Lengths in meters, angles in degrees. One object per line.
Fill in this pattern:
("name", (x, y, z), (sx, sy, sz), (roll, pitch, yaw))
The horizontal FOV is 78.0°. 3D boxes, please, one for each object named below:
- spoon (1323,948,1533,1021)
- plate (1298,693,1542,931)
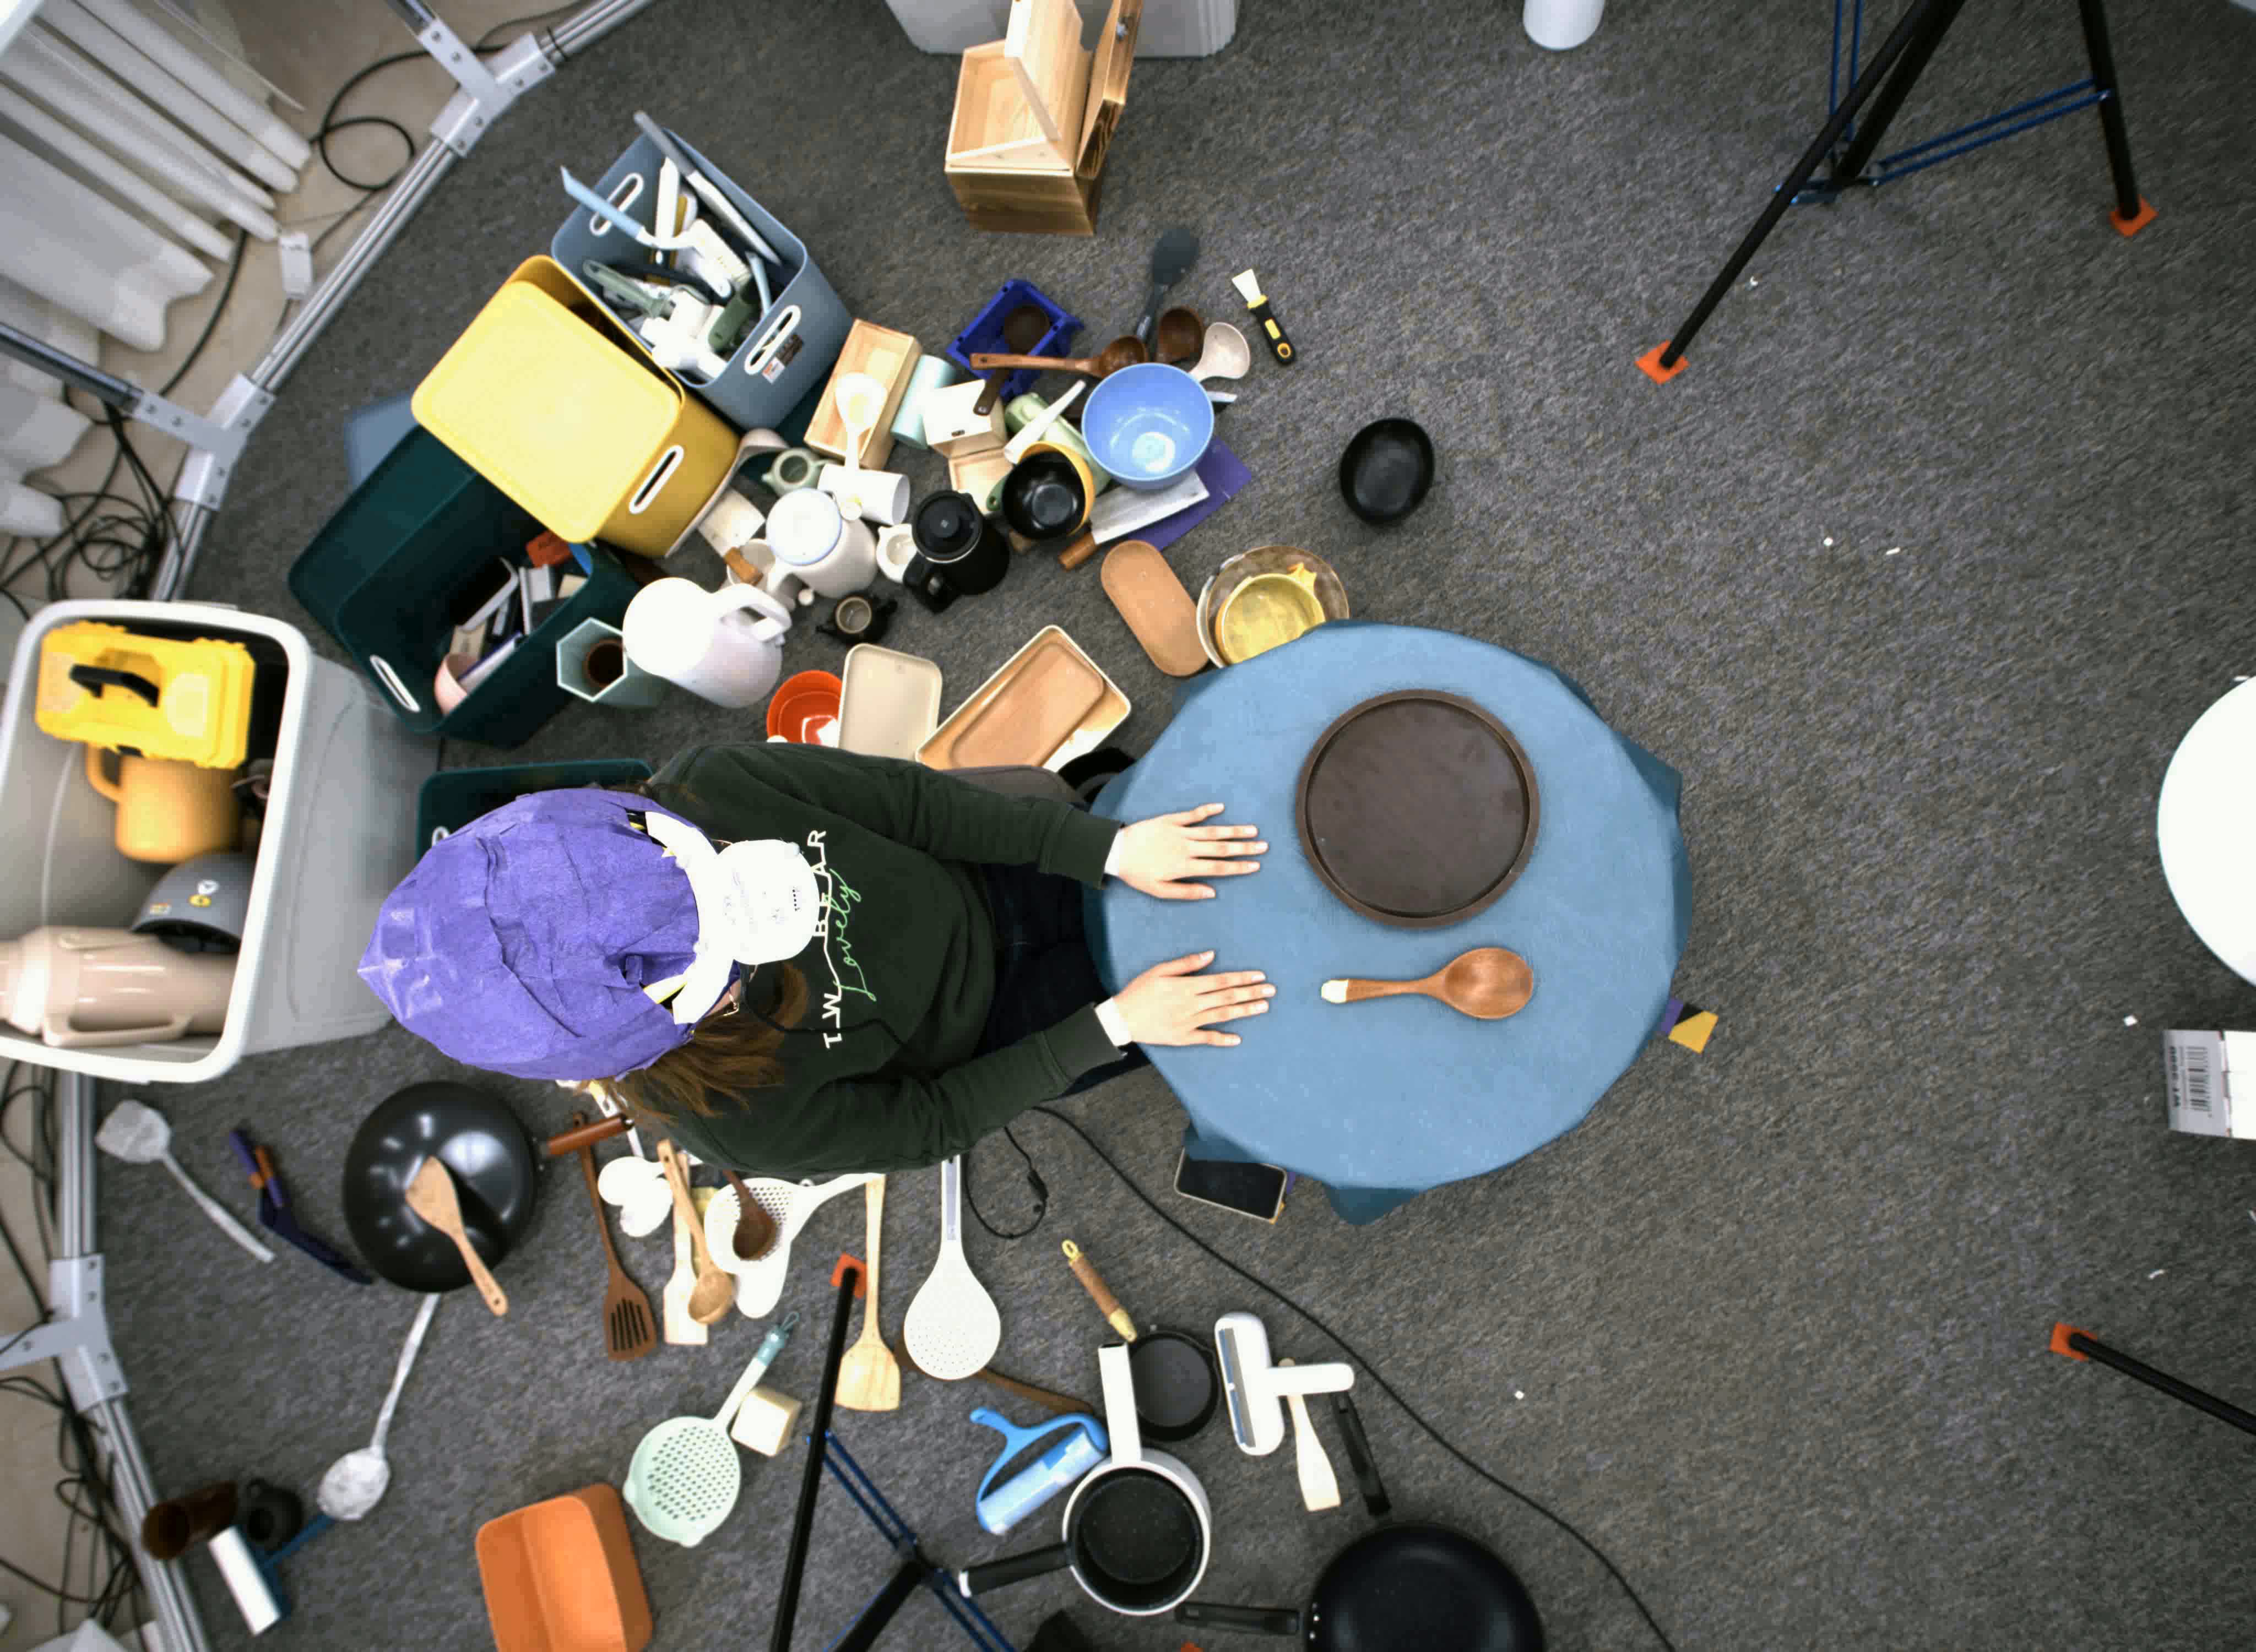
("spoon", (0.312, 0.168, 1.442), (0.217, 0.017, 0.075), (-5, 86, 10))
("plate", (0.306, -0.017, 1.453), (0.256, 0.029, 0.253), (-1, 85, 9))
